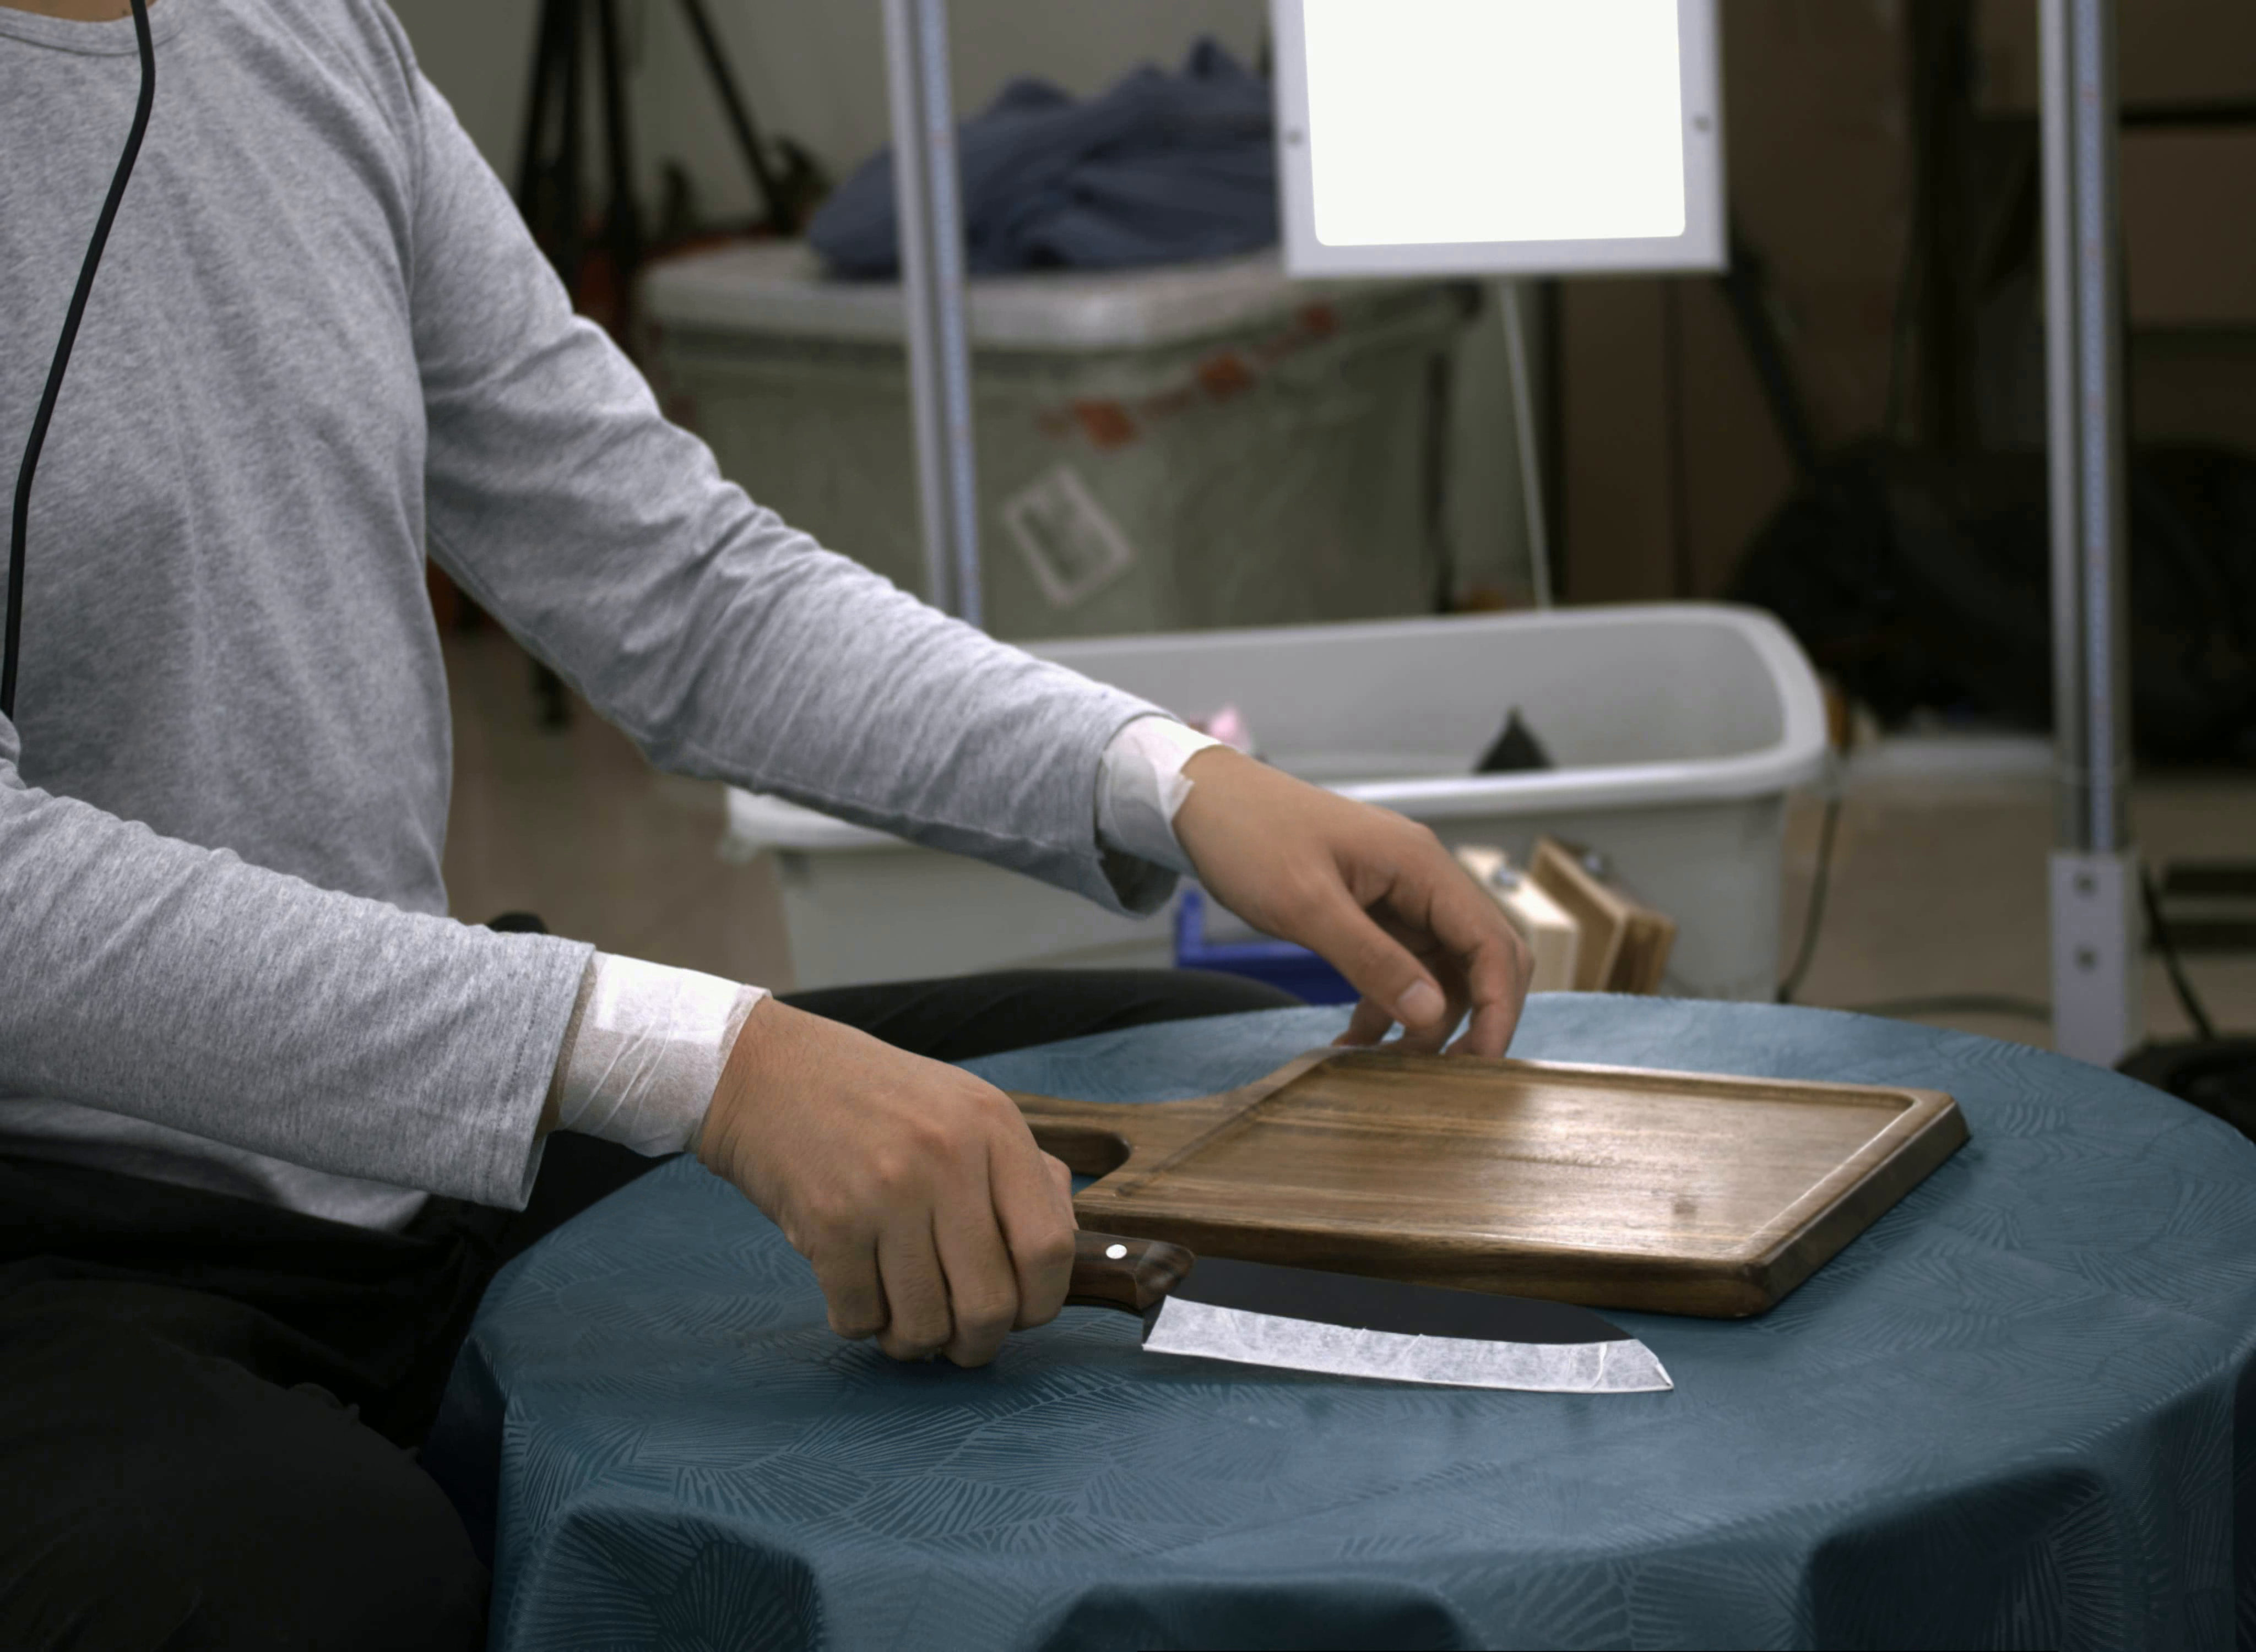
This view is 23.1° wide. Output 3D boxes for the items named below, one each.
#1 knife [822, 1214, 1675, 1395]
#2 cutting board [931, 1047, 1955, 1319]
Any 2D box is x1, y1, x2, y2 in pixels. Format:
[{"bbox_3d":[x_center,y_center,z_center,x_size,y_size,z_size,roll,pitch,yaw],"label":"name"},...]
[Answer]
[{"bbox_3d":[0.034,0.151,1.721,0.293,0.020,0.049,7,42,23],"label":"knife"},{"bbox_3d":[0.089,0.114,1.878,0.359,0.023,0.196,3,15,30],"label":"cutting board"}]
